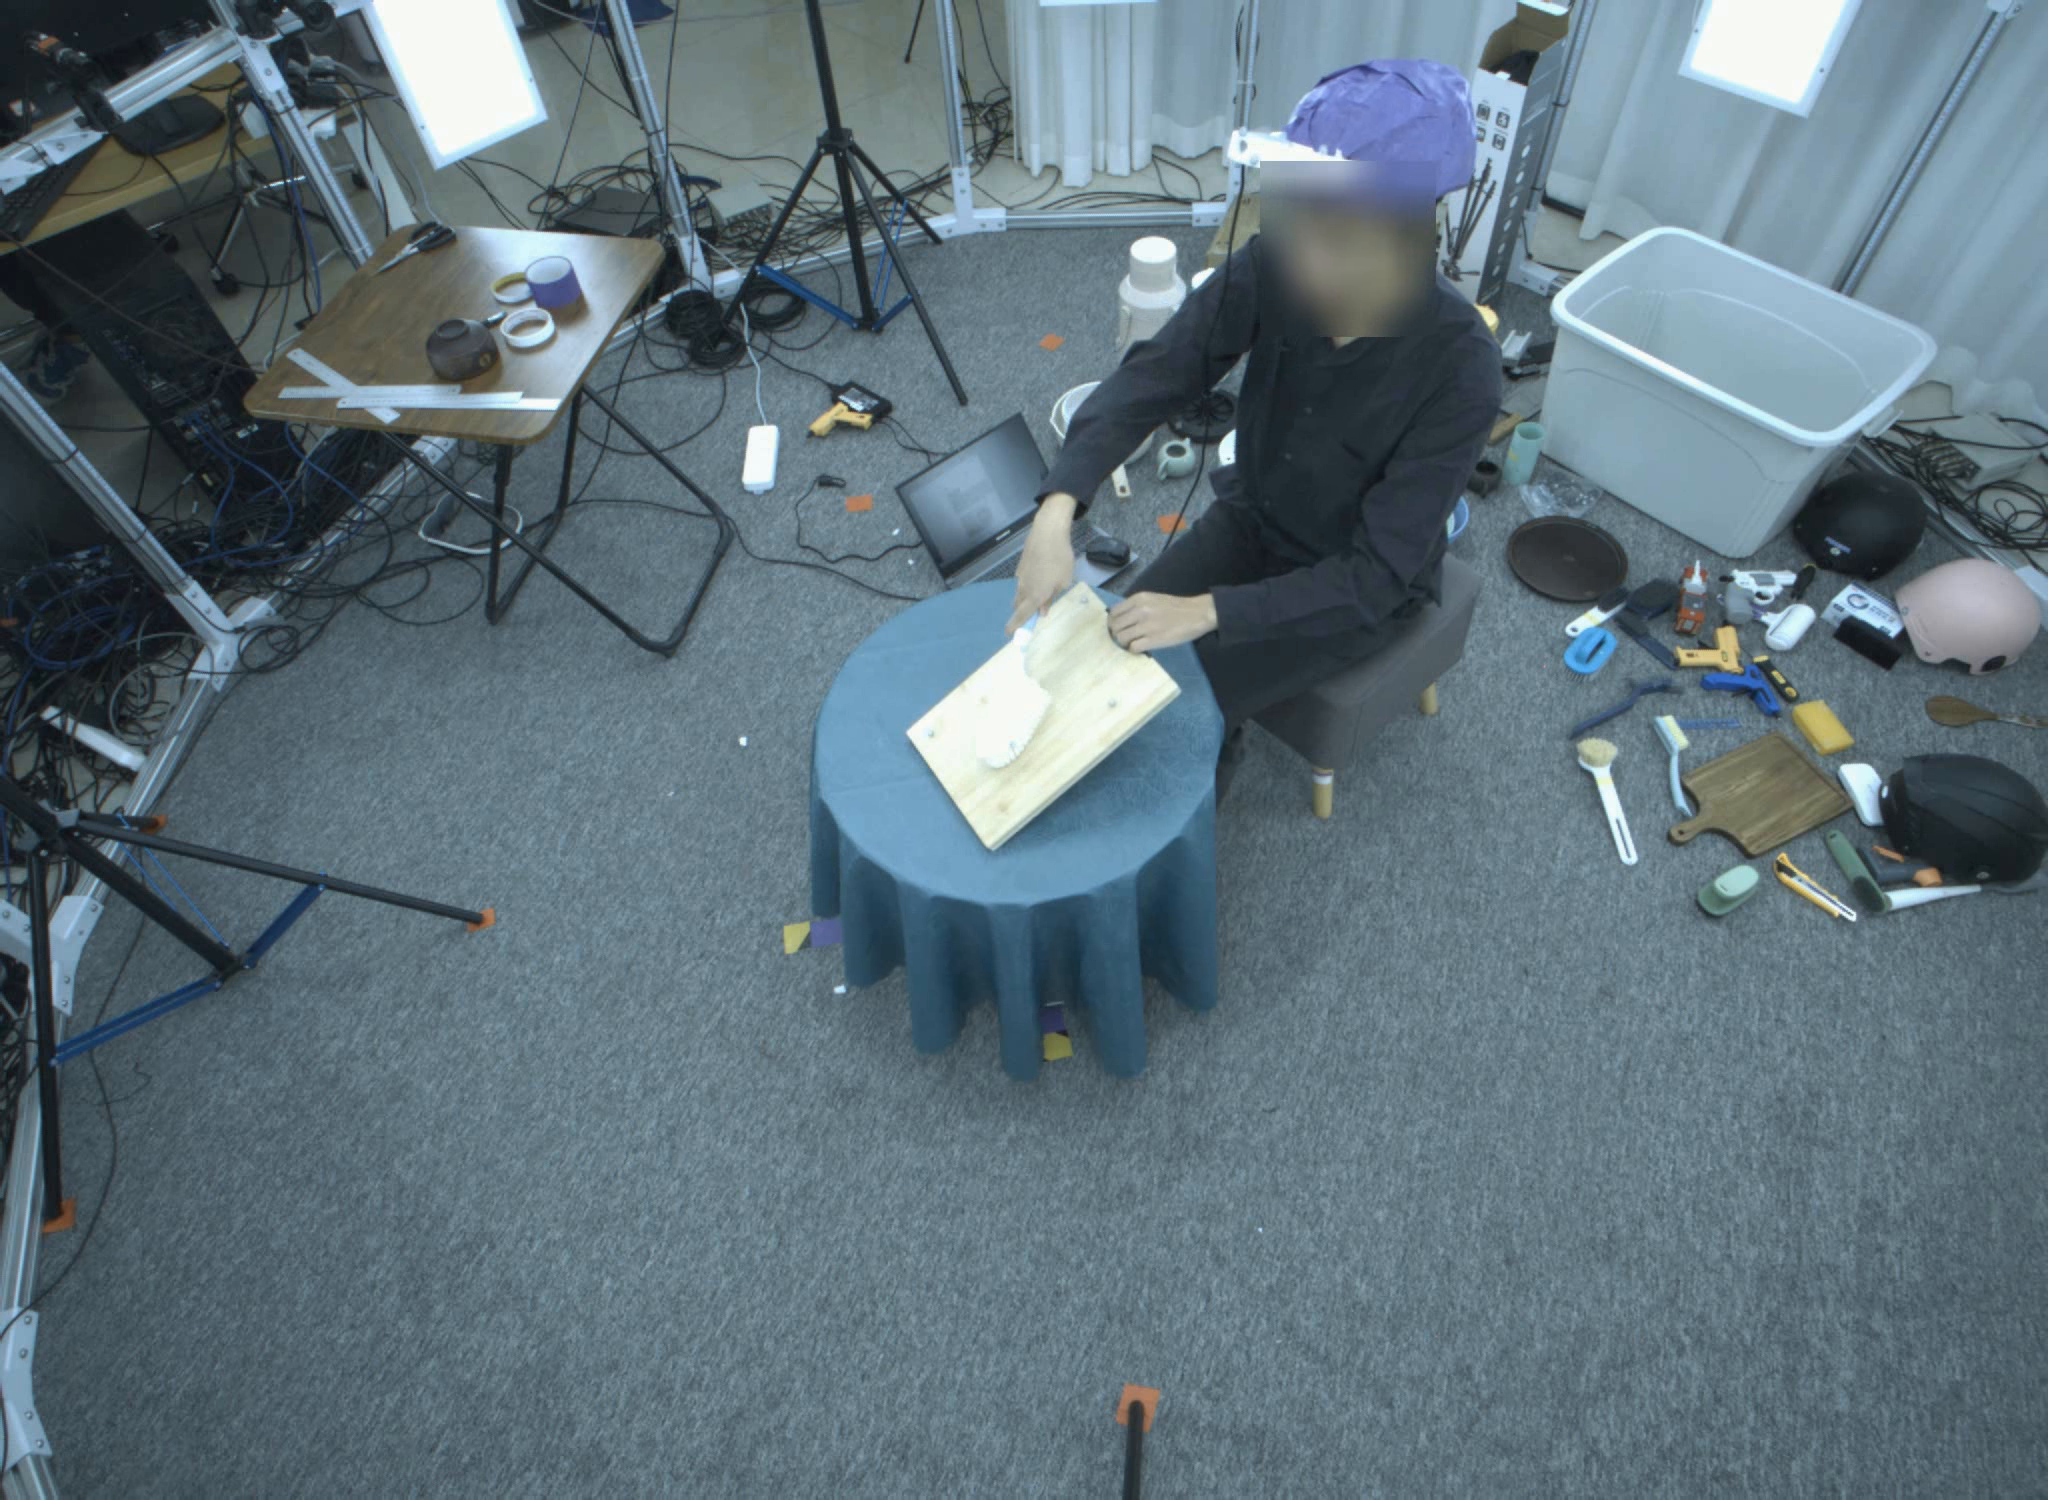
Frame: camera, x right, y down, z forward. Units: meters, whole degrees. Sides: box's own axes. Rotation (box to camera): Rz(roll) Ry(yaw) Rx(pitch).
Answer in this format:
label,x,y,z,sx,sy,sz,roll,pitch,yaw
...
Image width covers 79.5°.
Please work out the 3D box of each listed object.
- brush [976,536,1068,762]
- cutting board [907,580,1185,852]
label,x,y,z,sx,sy,sz,roll,pitch,yaw
brush,0.016,-0.137,1.712,0.083,0.084,0.325,20,88,-8
cutting board,0.021,-0.053,1.732,0.348,0.024,0.246,-42,60,2
